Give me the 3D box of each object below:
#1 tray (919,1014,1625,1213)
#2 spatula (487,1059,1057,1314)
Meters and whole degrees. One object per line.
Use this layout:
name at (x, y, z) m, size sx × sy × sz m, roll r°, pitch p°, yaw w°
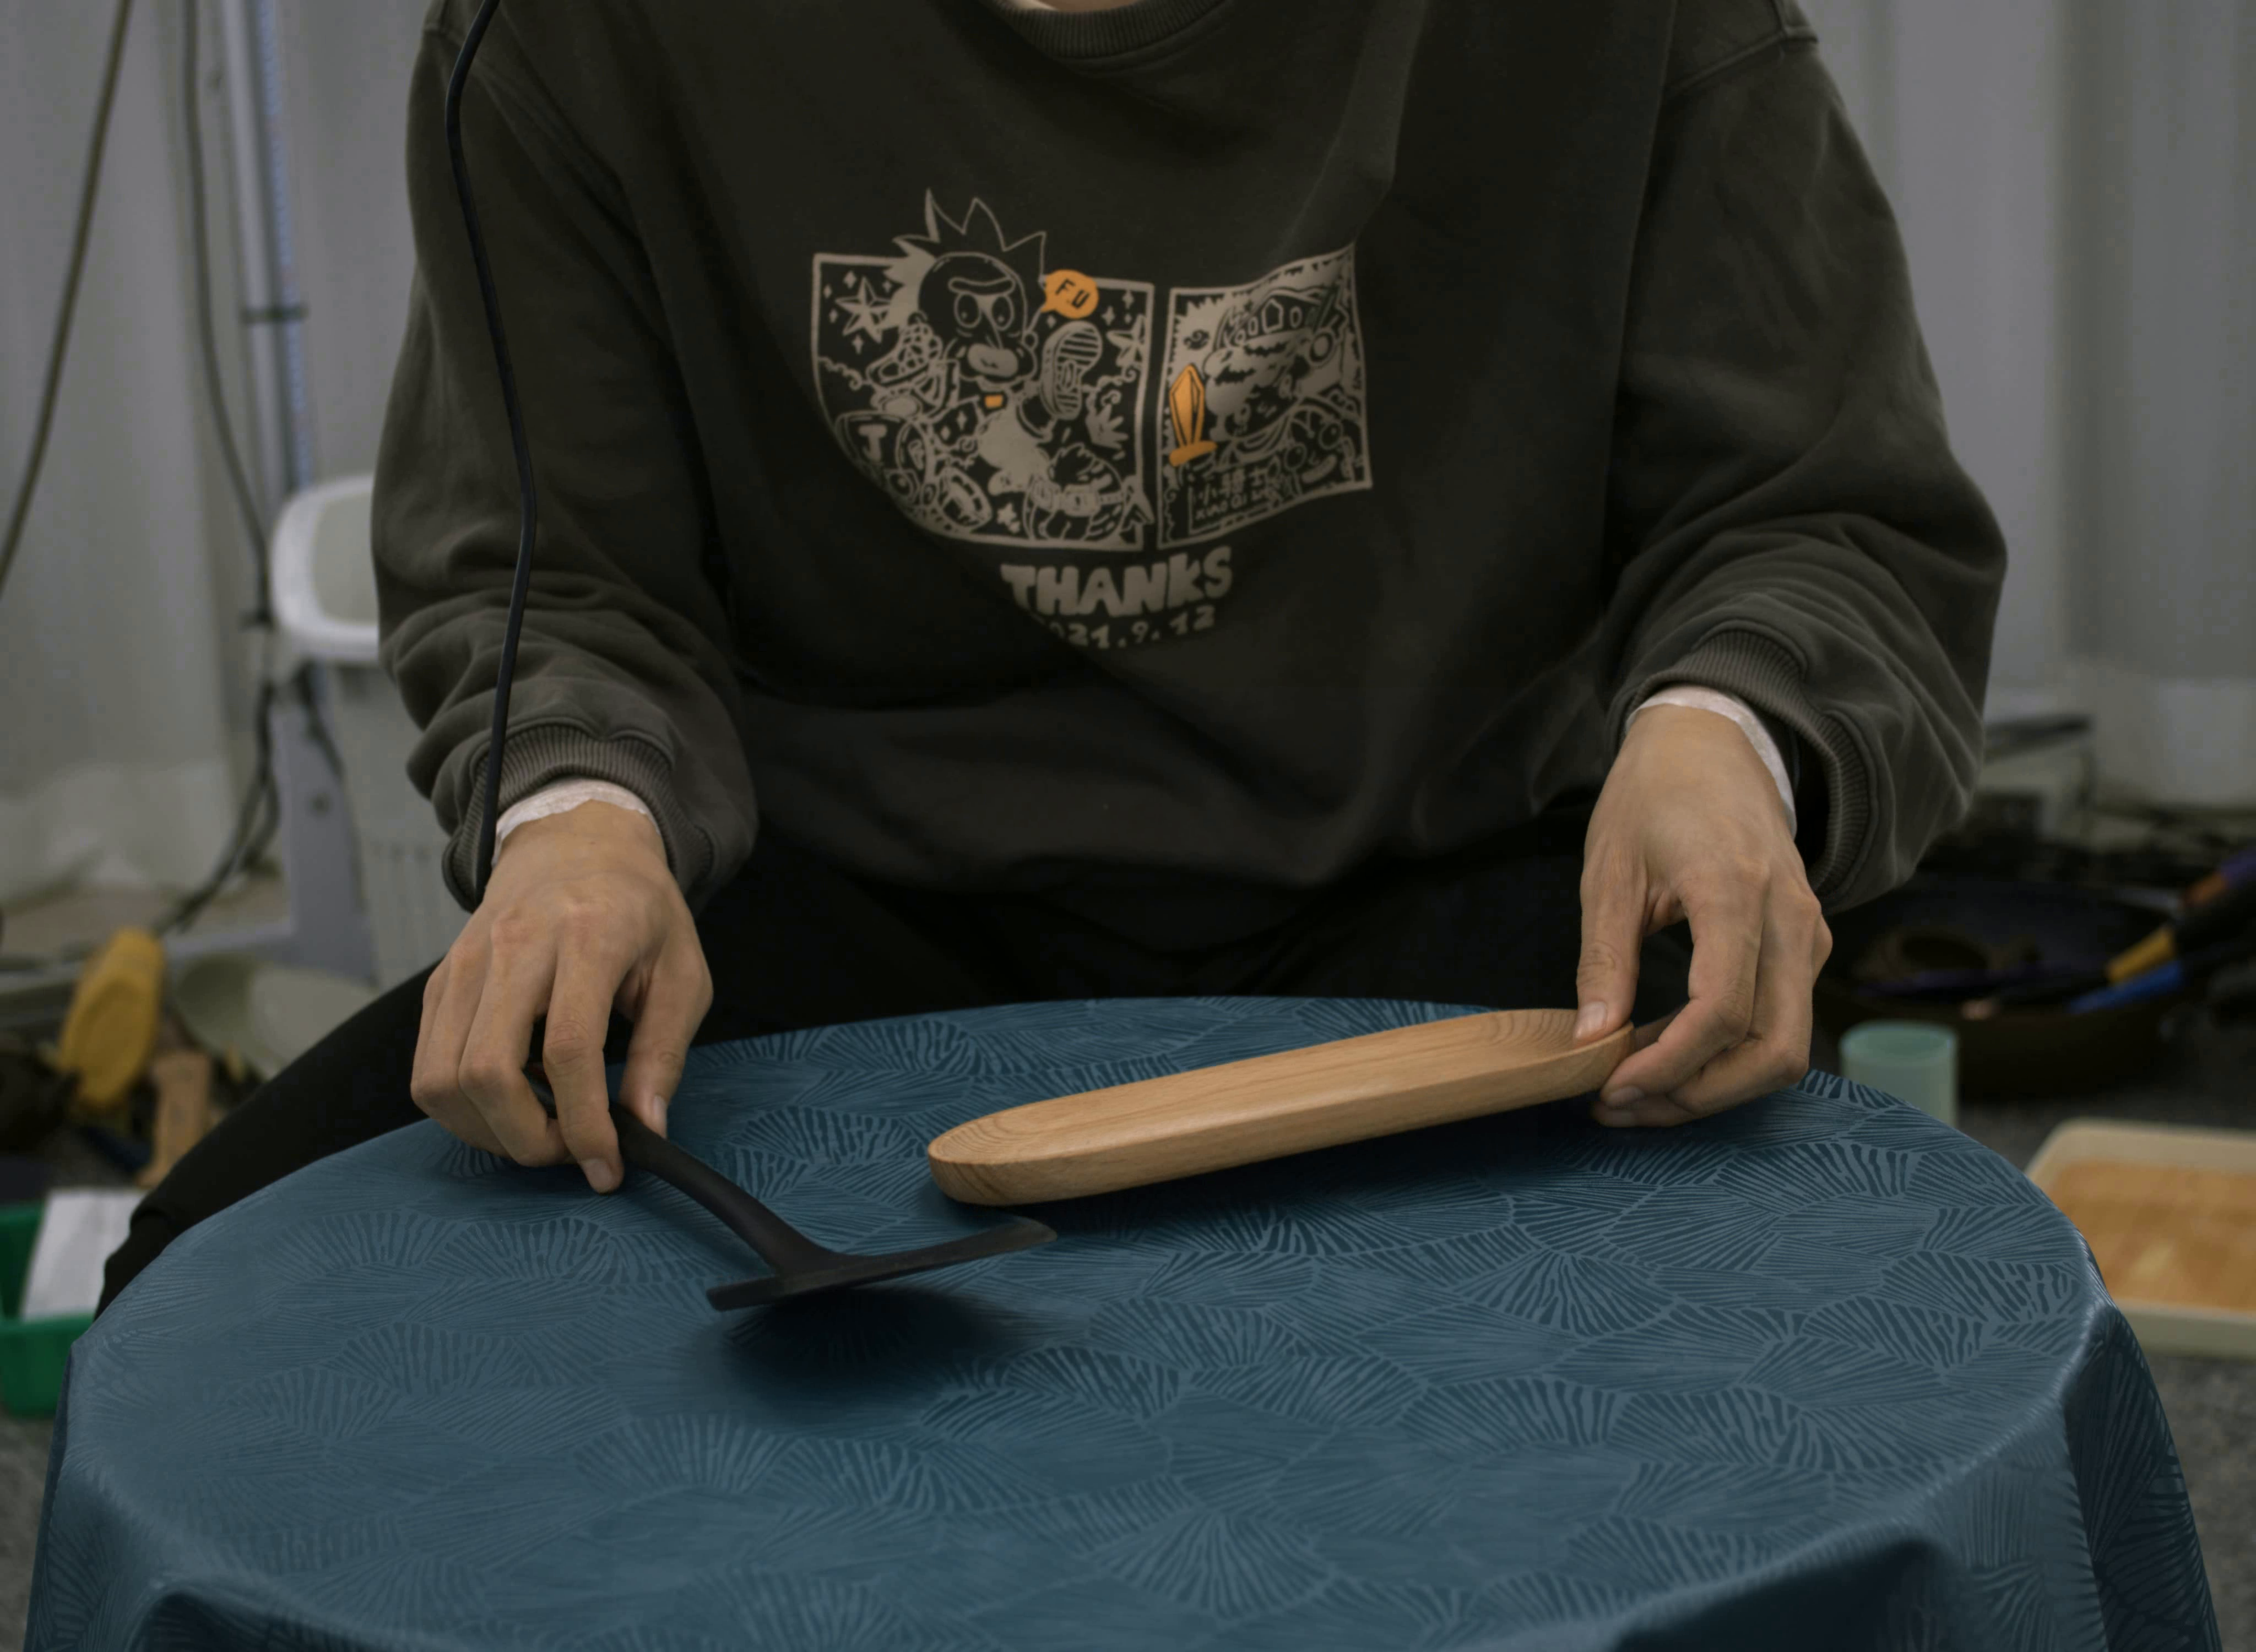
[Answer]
tray at (0.047, 0.091, 1.736) m, size 0.230 × 0.020 × 0.102 m, roll -12°, pitch 8°, yaw -13°
spatula at (-0.135, 0.106, 1.703) m, size 0.099 × 0.040 × 0.329 m, roll -7°, pitch 17°, yaw -27°
